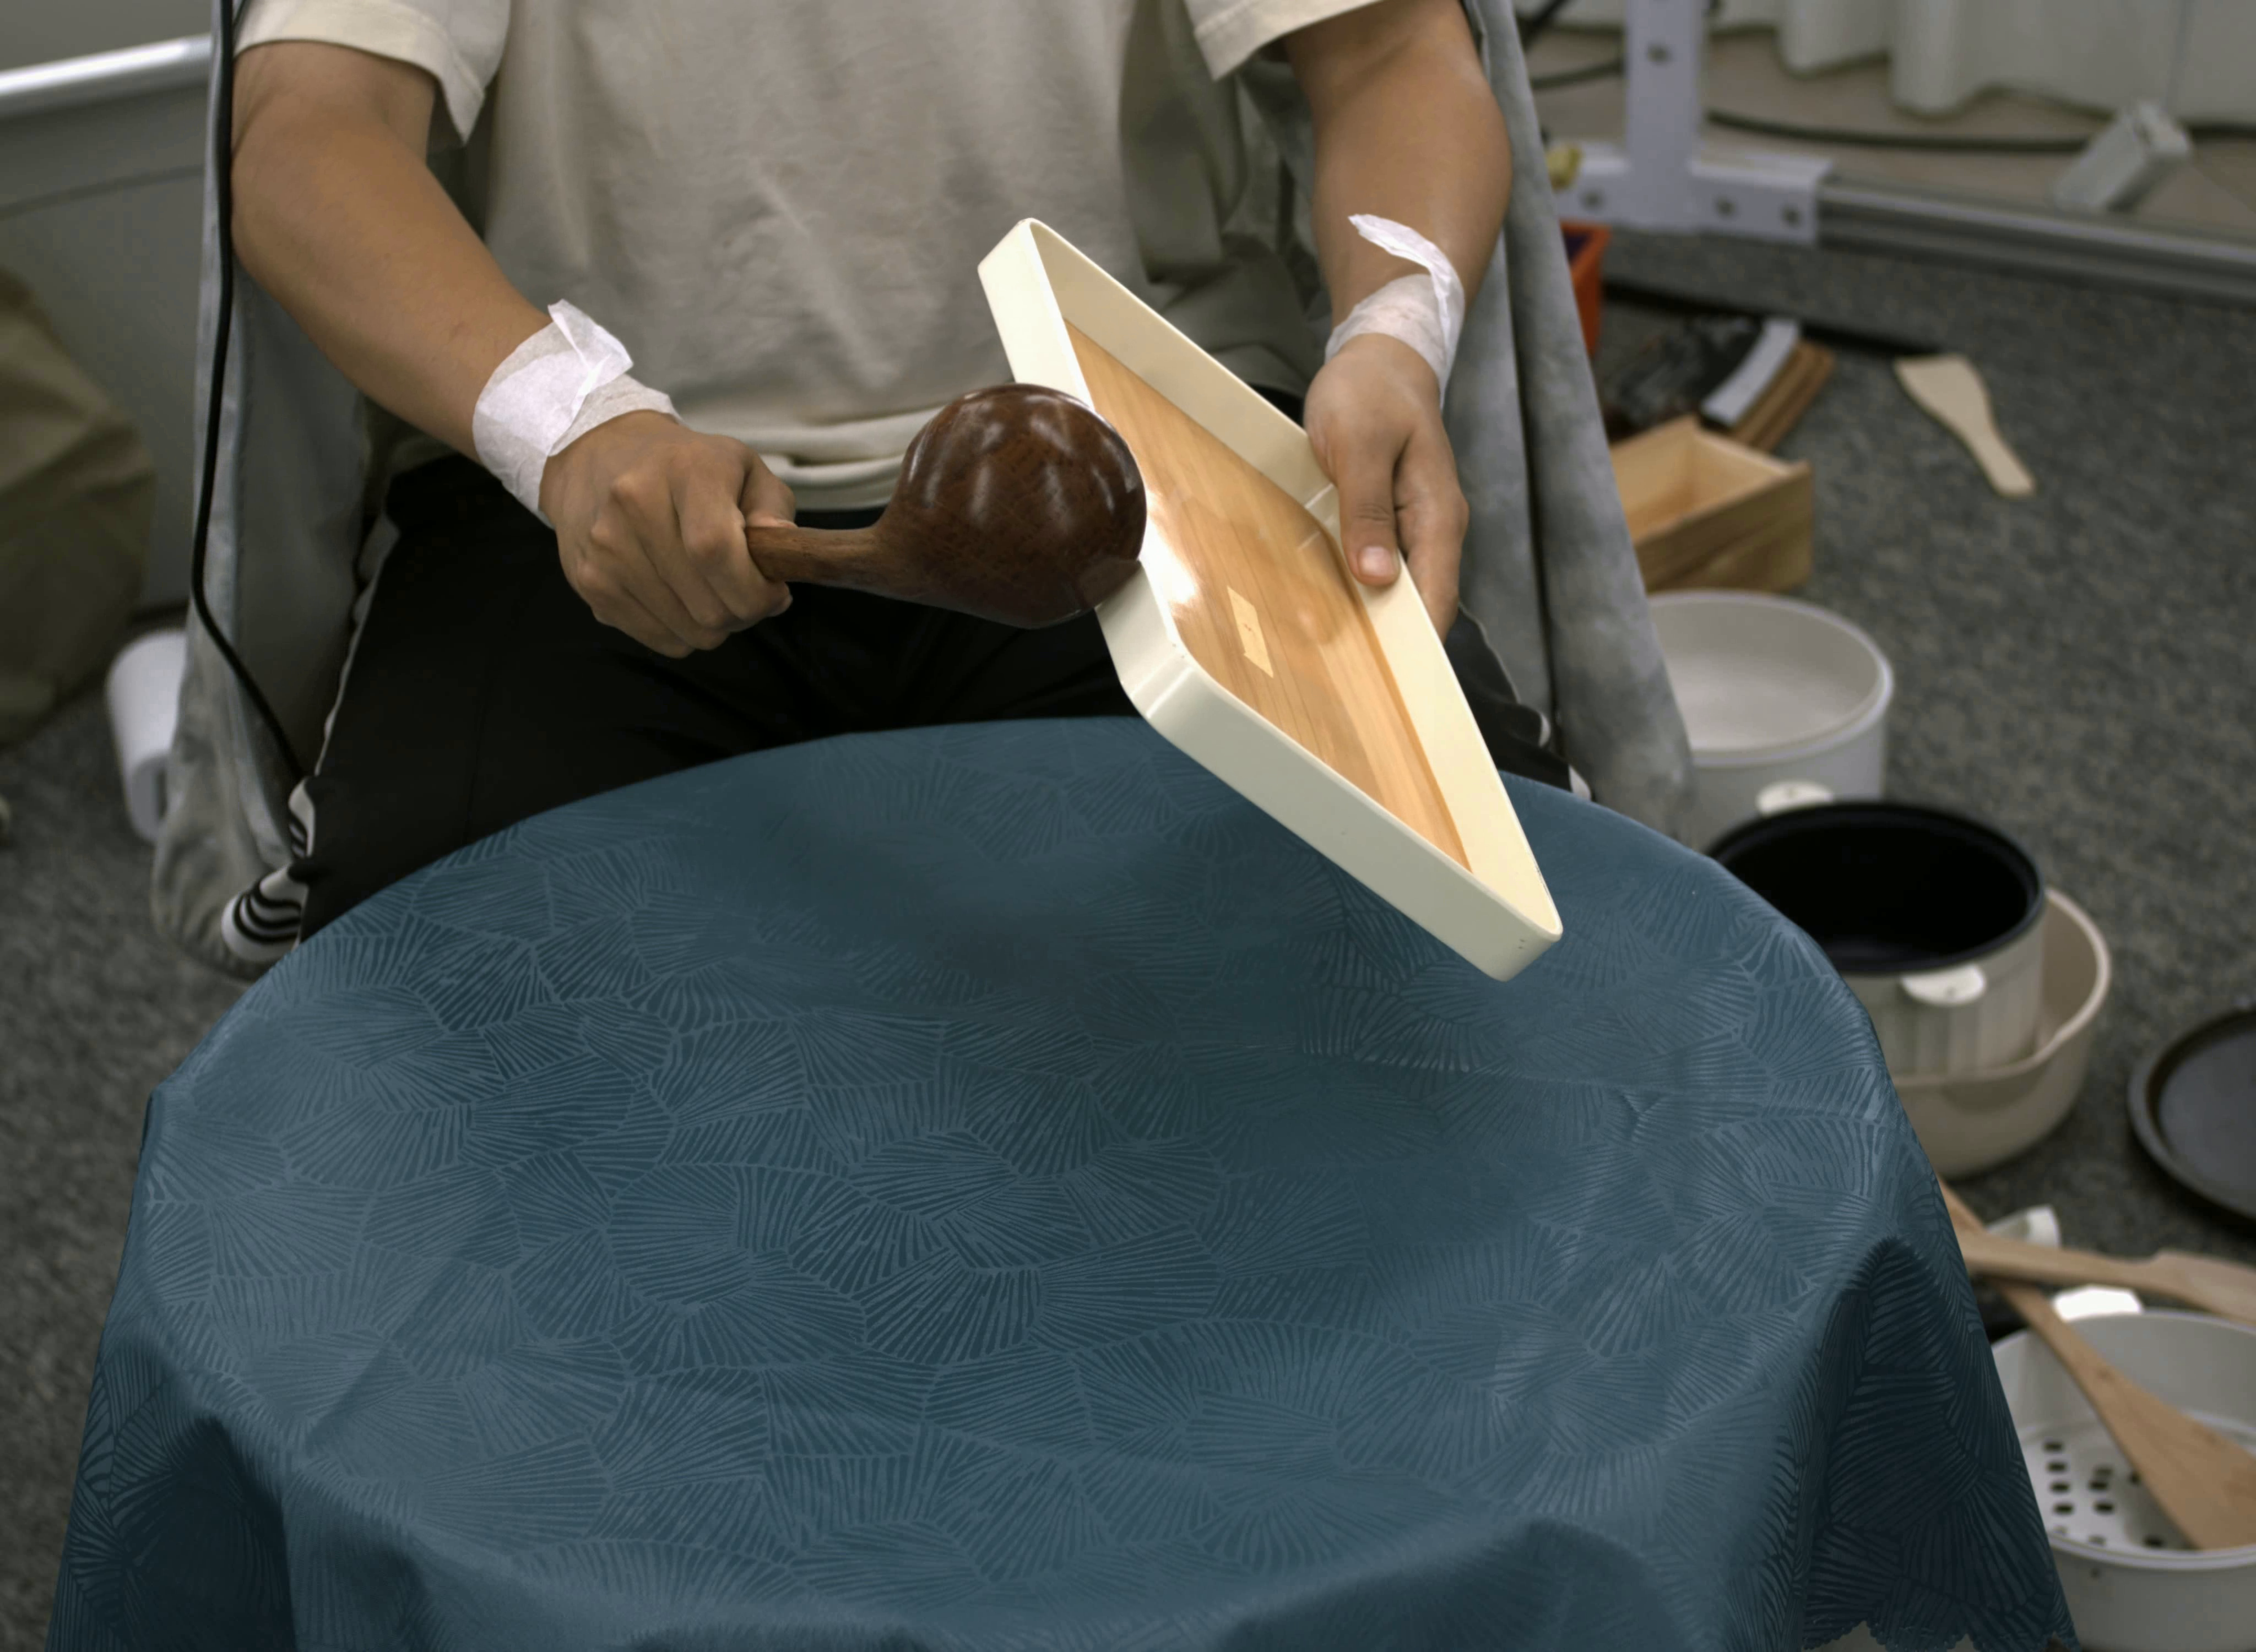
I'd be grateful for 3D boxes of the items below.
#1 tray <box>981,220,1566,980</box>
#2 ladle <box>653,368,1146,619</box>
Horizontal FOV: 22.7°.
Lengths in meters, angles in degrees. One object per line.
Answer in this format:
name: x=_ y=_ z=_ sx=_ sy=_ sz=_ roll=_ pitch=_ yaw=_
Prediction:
tray: x=0.046 y=-0.081 z=1.929 sx=0.027 sy=0.190 sz=0.305 roll=-44 pitch=32 yaw=17
ladle: x=-0.080 y=-0.105 z=1.890 sx=0.077 sy=0.082 sz=0.272 roll=-30 pitch=12 yaw=-22
